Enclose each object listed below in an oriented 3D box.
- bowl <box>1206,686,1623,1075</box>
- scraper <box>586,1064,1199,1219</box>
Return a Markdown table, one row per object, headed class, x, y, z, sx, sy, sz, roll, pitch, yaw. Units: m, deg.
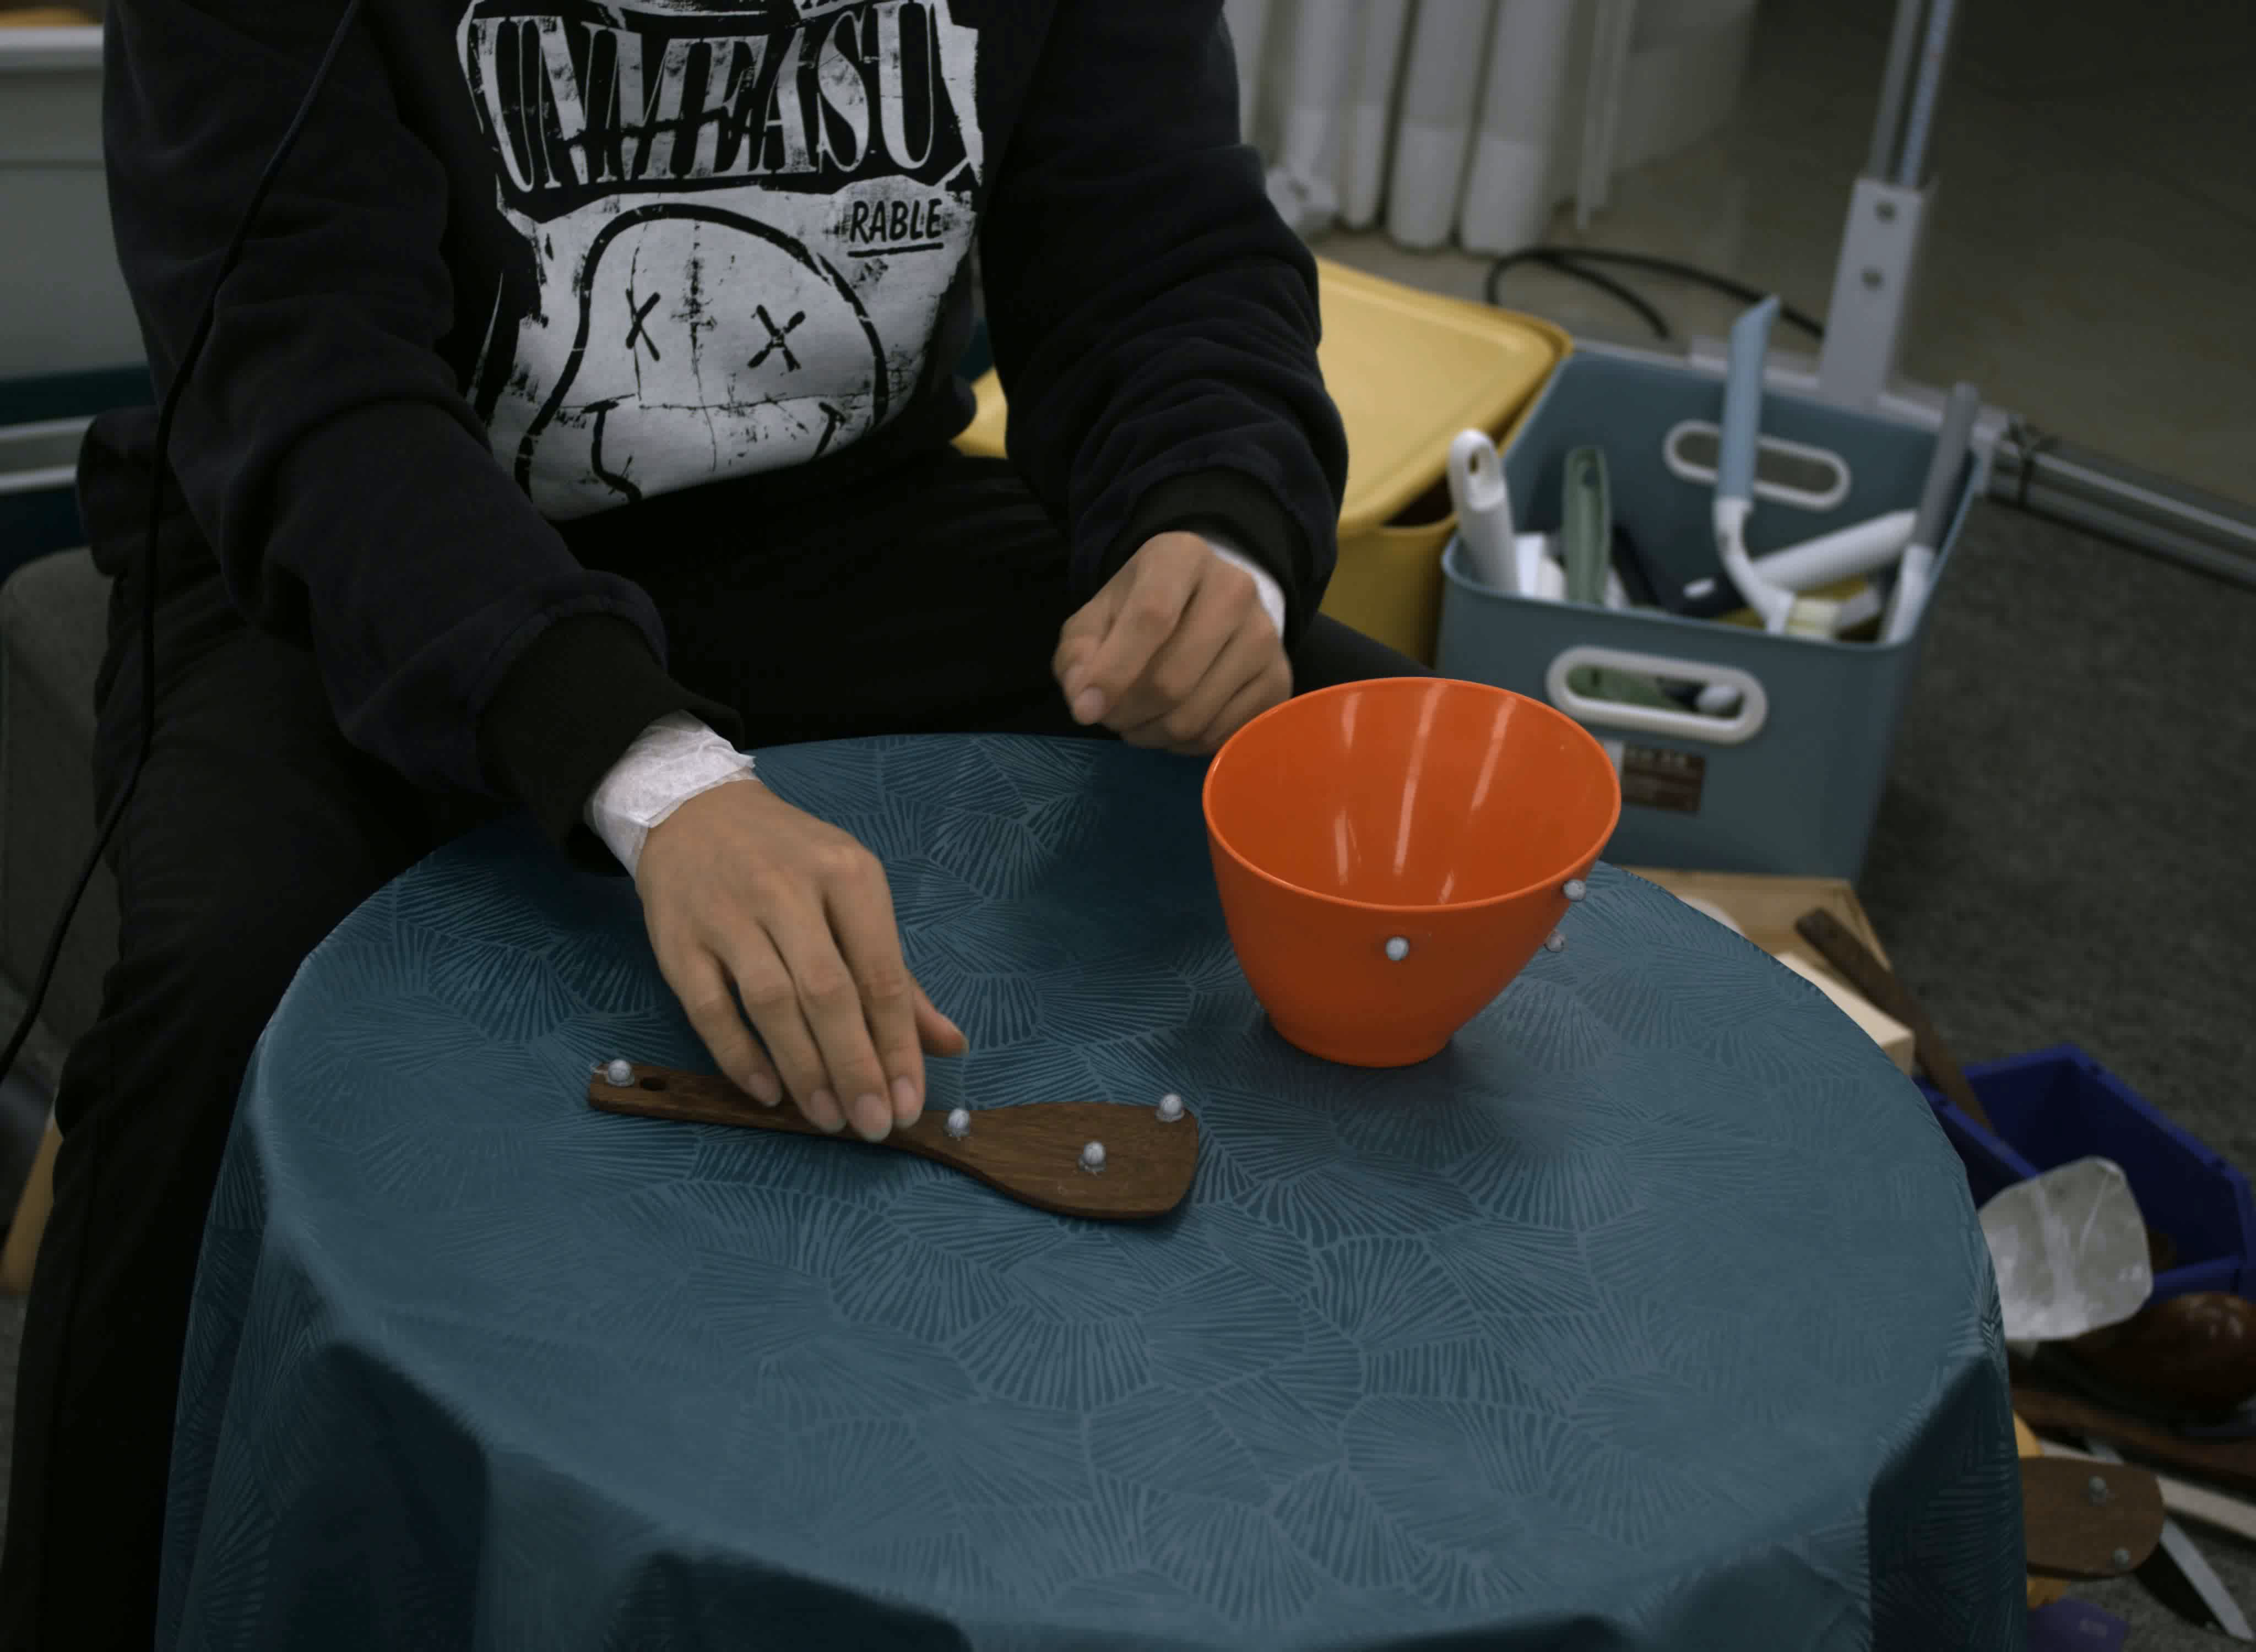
| class | x | y | z | sx | sy | sz | roll | pitch | yaw |
| --- | --- | --- | --- | --- | --- | --- | --- | --- | --- |
| bowl | 0.097 | 0.026 | 1.905 | 0.147 | 0.104 | 0.149 | 5 | 27 | -3 |
| scraper | -0.081 | 0.103 | 1.814 | 0.211 | 0.011 | 0.076 | 8 | 25 | 5 |
